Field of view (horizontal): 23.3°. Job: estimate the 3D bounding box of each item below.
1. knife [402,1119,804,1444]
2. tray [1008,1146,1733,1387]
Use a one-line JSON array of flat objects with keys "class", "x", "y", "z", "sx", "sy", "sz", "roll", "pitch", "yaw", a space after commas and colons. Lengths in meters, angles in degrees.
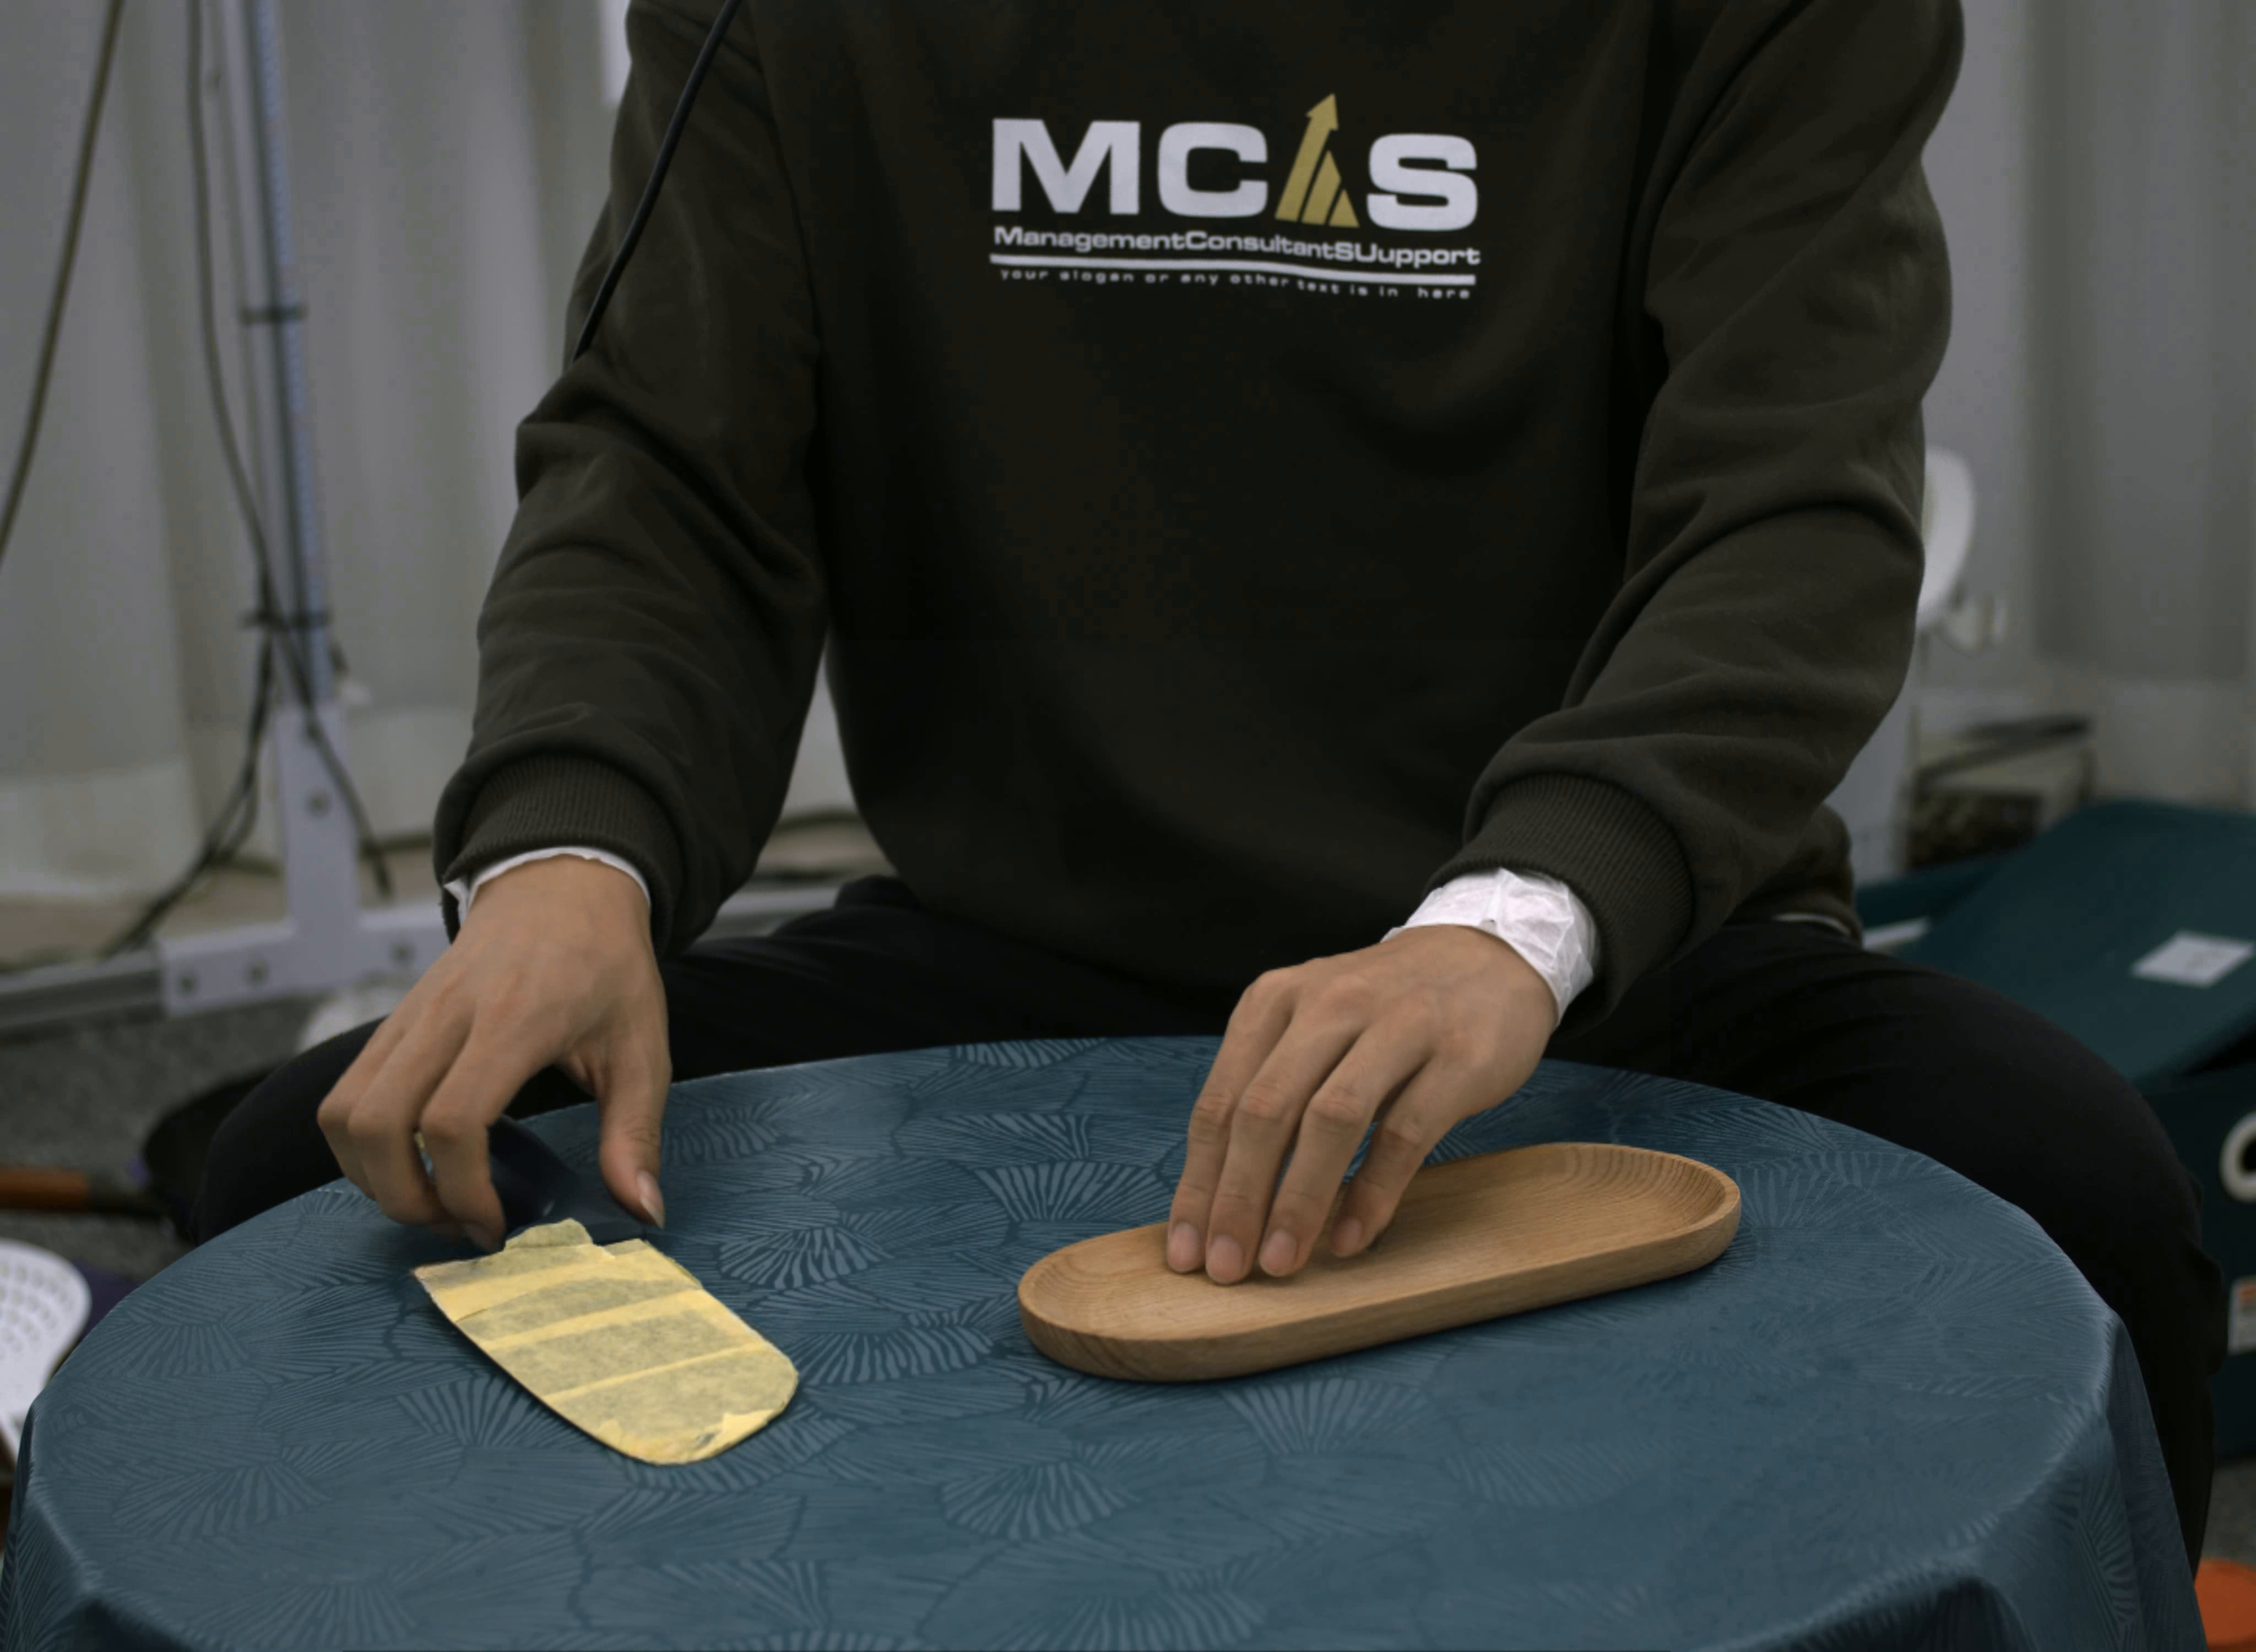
[{"class": "knife", "x": -0.172, "y": 0.137, "z": 1.637, "sx": 0.080, "sy": 0.027, "sz": 0.292, "roll": -7, "pitch": 16, "yaw": -24}, {"class": "tray", "x": 0.073, "y": 0.130, "z": 1.616, "sx": 0.230, "sy": 0.020, "sz": 0.102, "roll": -12, "pitch": 15, "yaw": -25}]
